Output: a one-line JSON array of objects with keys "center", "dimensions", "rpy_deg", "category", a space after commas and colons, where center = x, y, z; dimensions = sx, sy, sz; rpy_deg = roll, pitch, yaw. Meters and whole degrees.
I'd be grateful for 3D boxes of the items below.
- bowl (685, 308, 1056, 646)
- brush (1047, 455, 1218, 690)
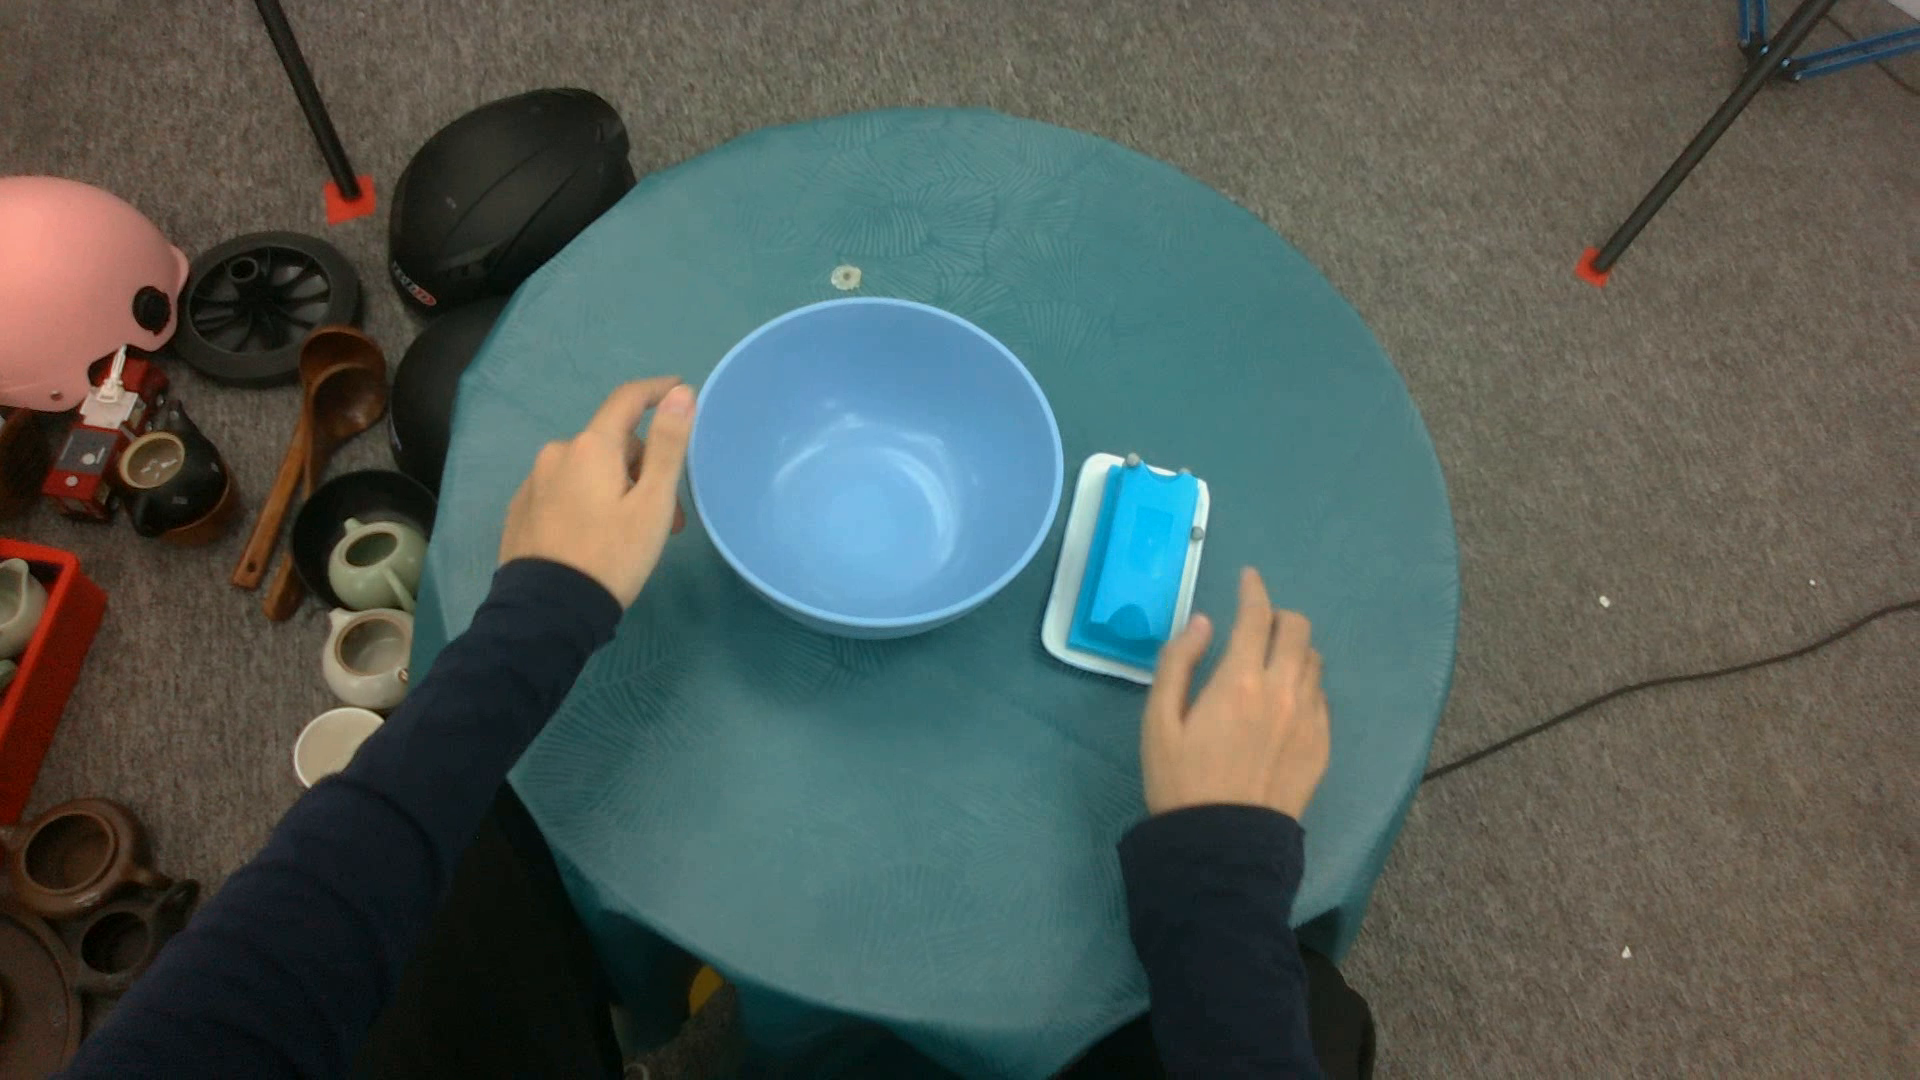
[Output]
[{"center": [-0.051, -0.022, 0.769], "dimensions": [0.196, 0.095, 0.197], "rpy_deg": [3, 64, -7], "category": "bowl"}, {"center": [0.102, 0.011, 0.784], "dimensions": [0.084, 0.055, 0.144], "rpy_deg": [12, 60, 5], "category": "brush"}]
